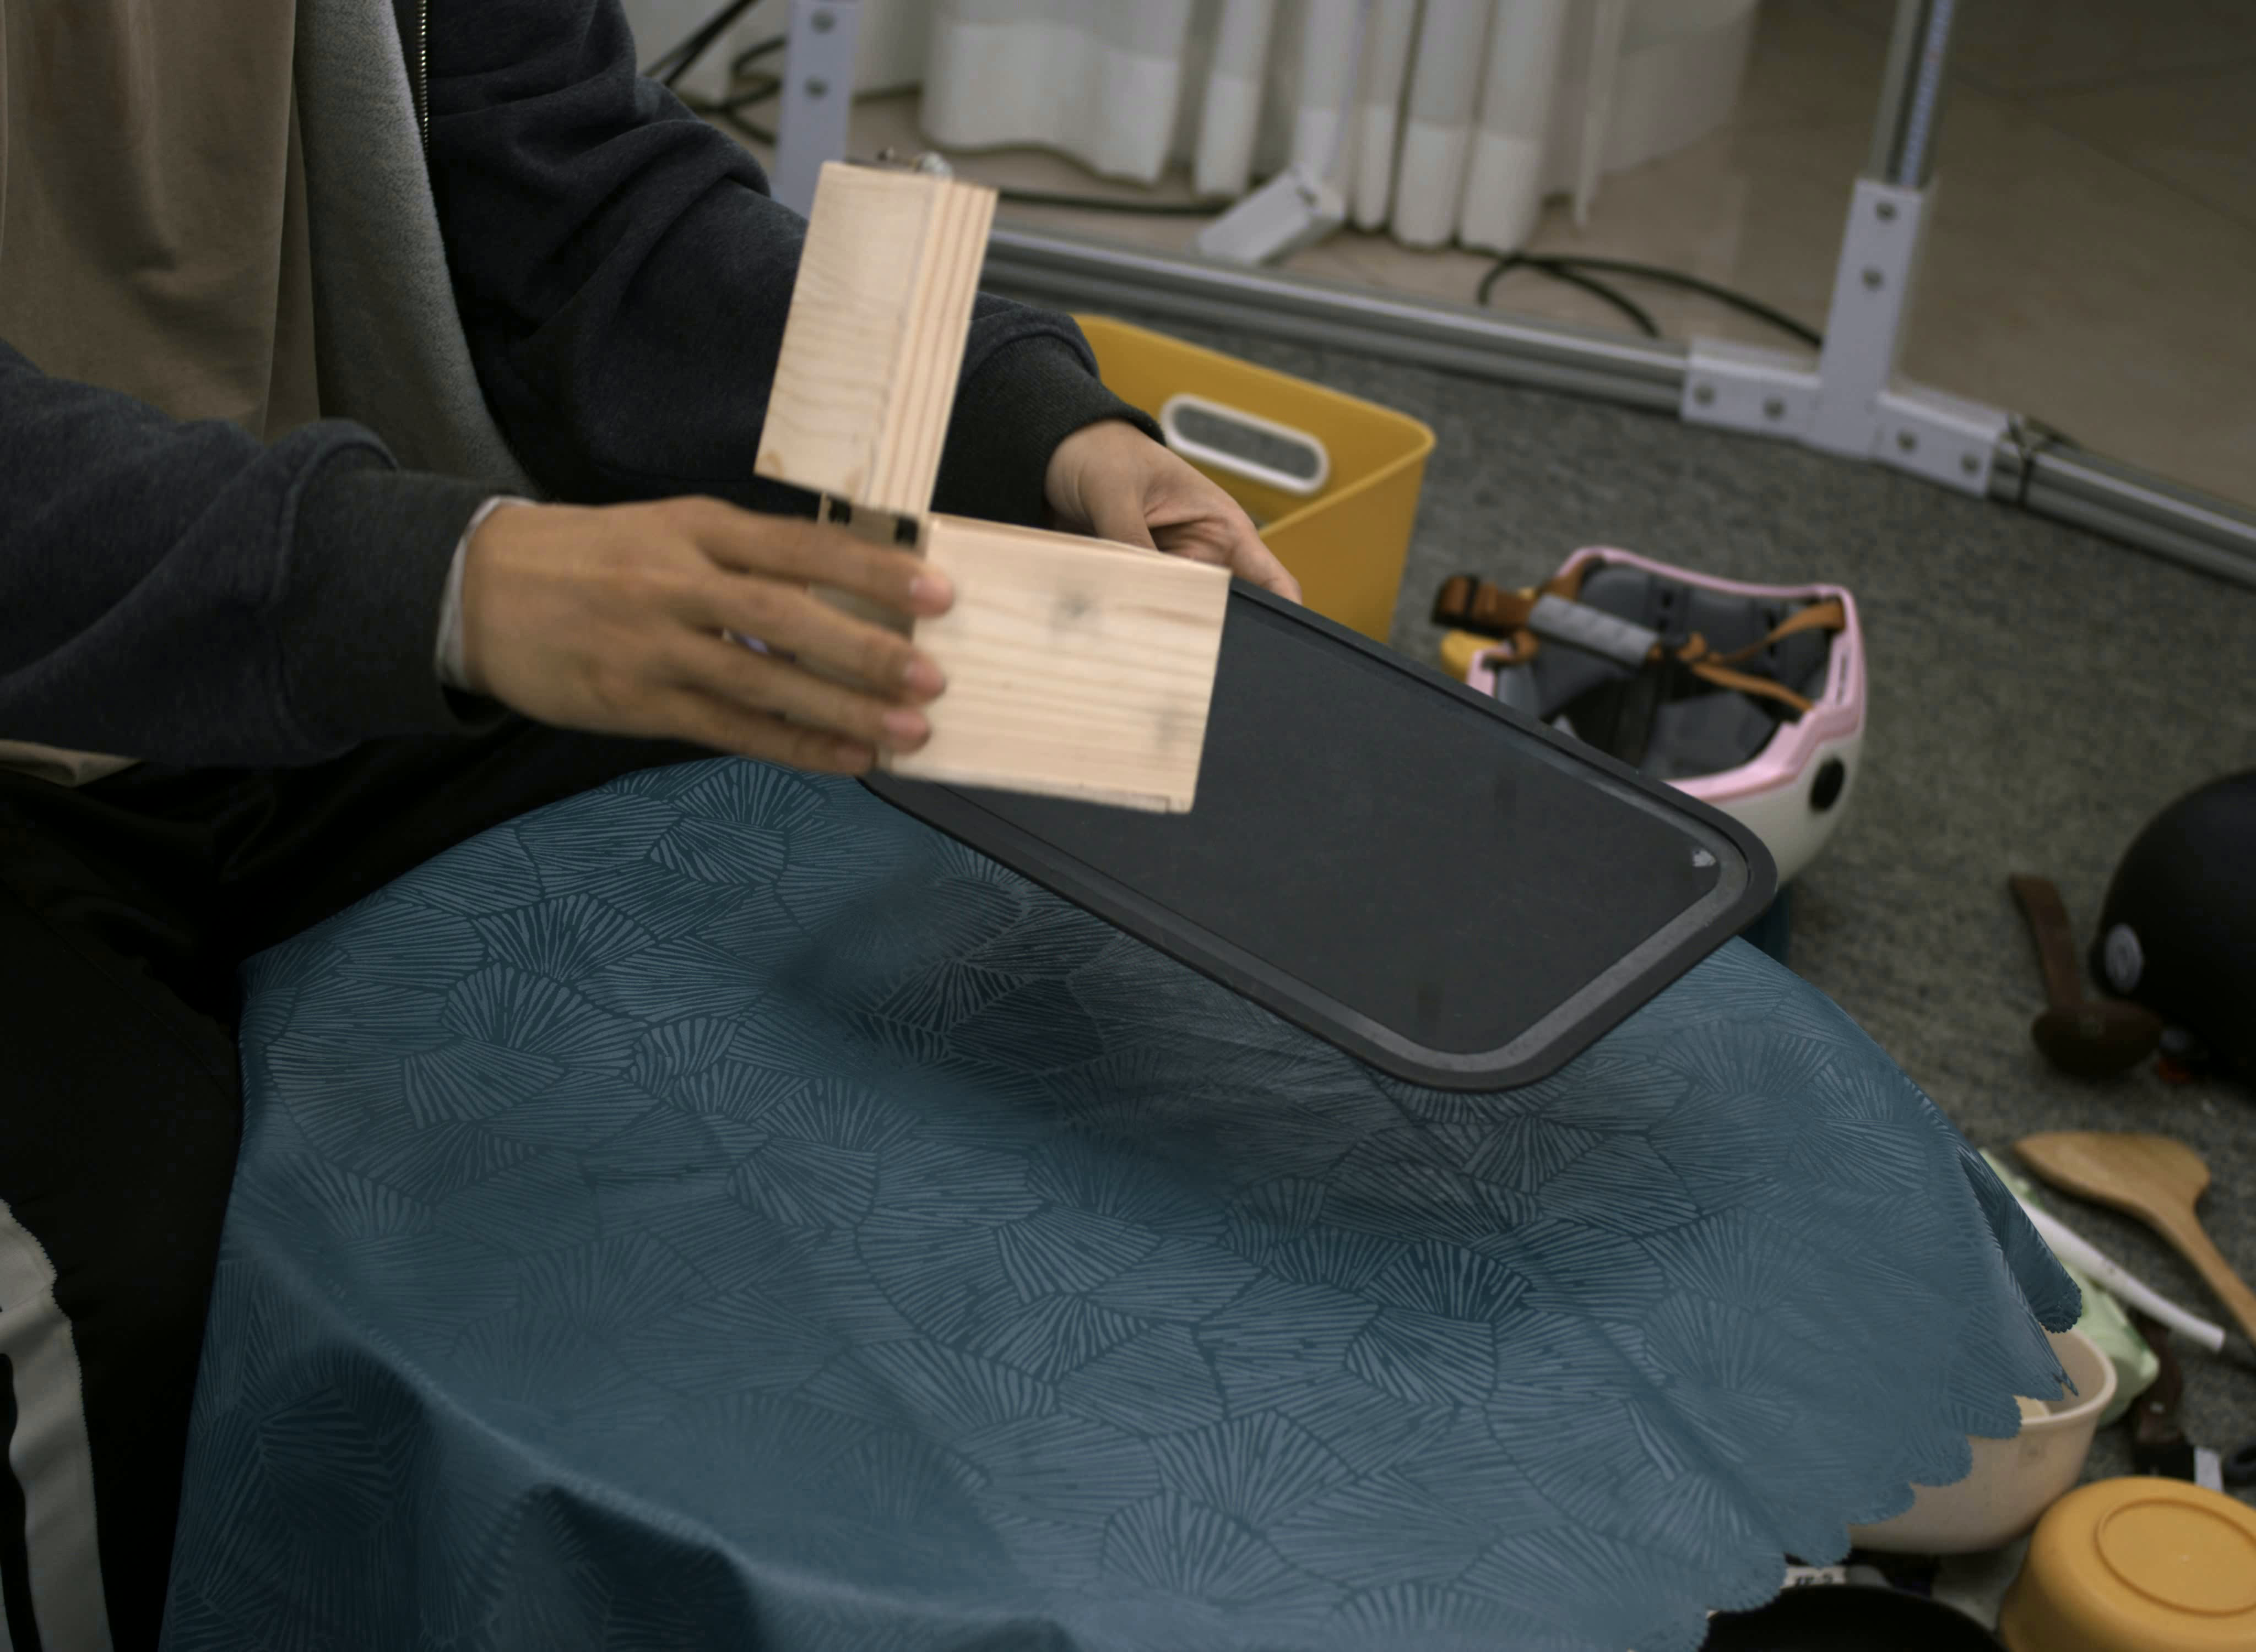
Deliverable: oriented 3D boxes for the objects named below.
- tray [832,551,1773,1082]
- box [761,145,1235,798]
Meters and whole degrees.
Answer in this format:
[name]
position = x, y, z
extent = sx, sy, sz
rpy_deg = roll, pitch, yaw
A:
[tray]
position = 0.054, -0.013, 1.880
extent = 0.327, 0.010, 0.210
rpy_deg = 28, 40, 29
[box]
position = -0.037, -0.112, 1.654
extent = 0.133, 0.185, 0.103
rpy_deg = 8, 3, -23
